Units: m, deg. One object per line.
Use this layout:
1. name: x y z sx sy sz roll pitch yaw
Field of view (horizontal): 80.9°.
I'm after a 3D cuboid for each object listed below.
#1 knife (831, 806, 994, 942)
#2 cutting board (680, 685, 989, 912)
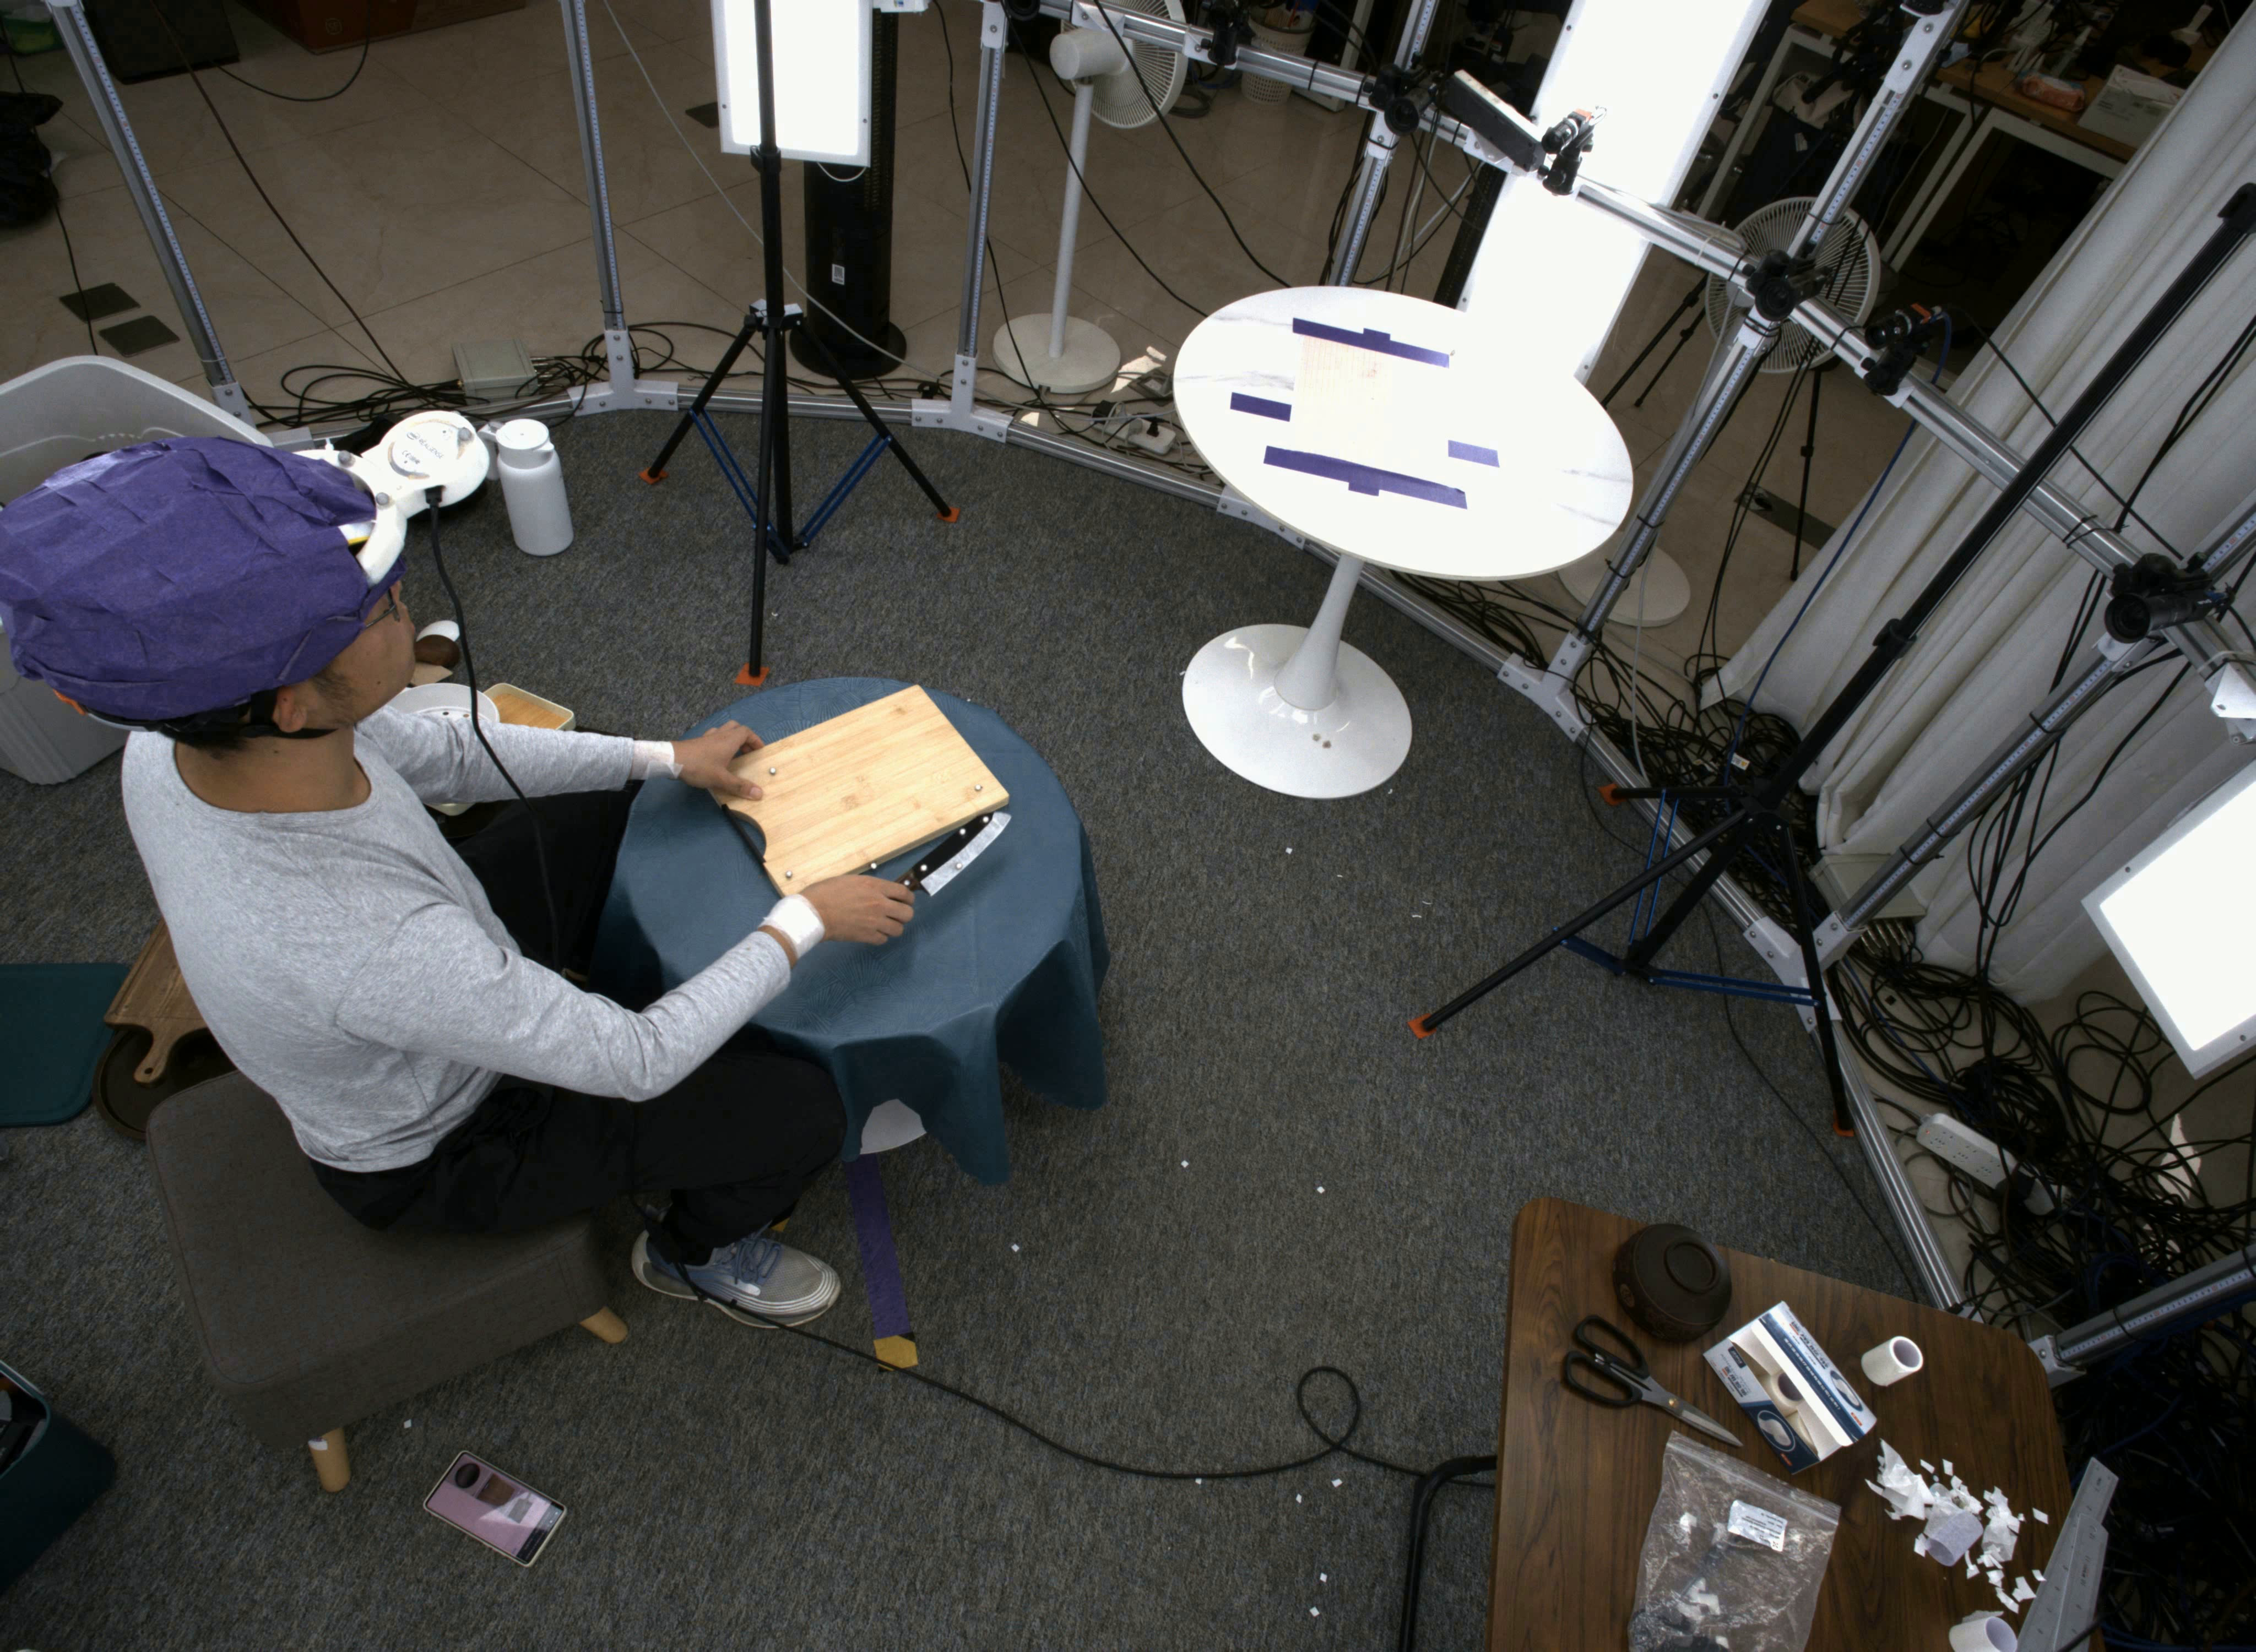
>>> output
1. knife: -0.268 0.055 1.656 0.289 0.020 0.051 -42 100 -36
2. cutting board: -0.394 -0.047 1.768 0.350 0.024 0.244 -29 65 -30
